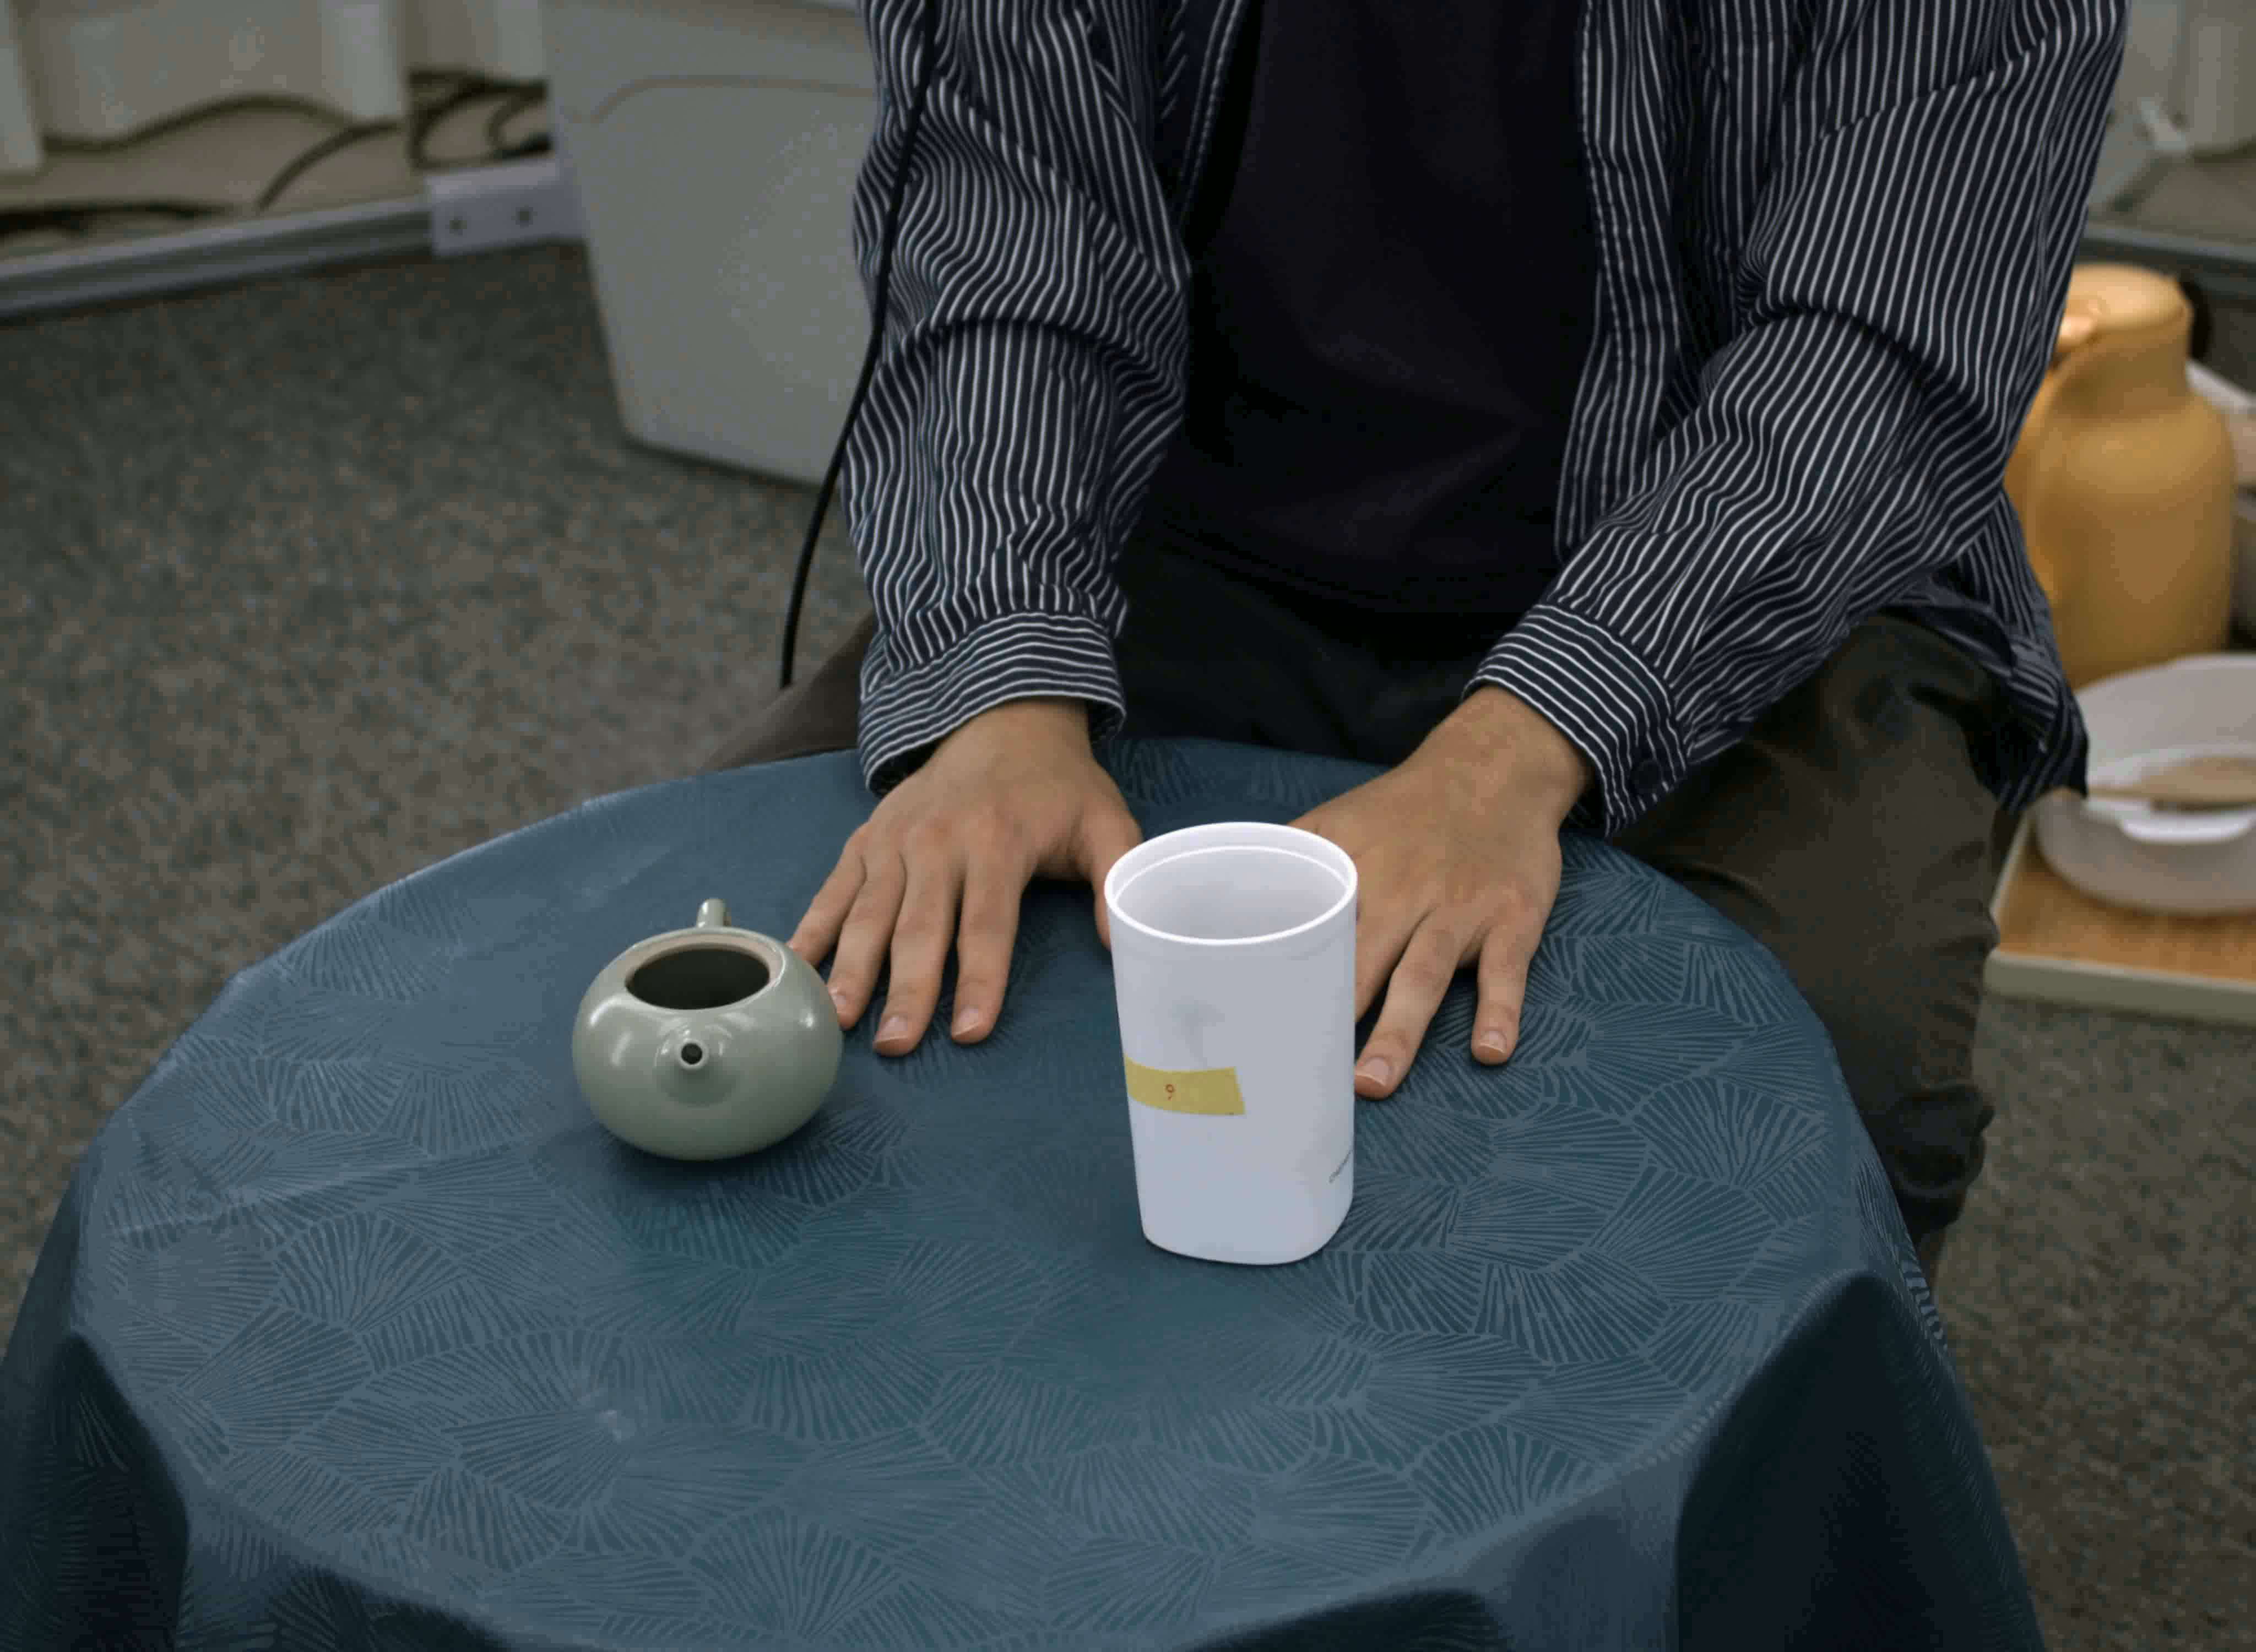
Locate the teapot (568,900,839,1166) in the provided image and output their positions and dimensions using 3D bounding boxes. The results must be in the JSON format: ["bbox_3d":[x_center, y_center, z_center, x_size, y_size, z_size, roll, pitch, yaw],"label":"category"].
[{"bbox_3d":[-0.142,0.071,1.905,0.091,0.060,0.130,-2,27,6],"label":"teapot"}]

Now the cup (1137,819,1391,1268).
[{"bbox_3d":[0.047,0.072,1.807,0.081,0.124,0.083,-3,26,2],"label":"cup"}]
